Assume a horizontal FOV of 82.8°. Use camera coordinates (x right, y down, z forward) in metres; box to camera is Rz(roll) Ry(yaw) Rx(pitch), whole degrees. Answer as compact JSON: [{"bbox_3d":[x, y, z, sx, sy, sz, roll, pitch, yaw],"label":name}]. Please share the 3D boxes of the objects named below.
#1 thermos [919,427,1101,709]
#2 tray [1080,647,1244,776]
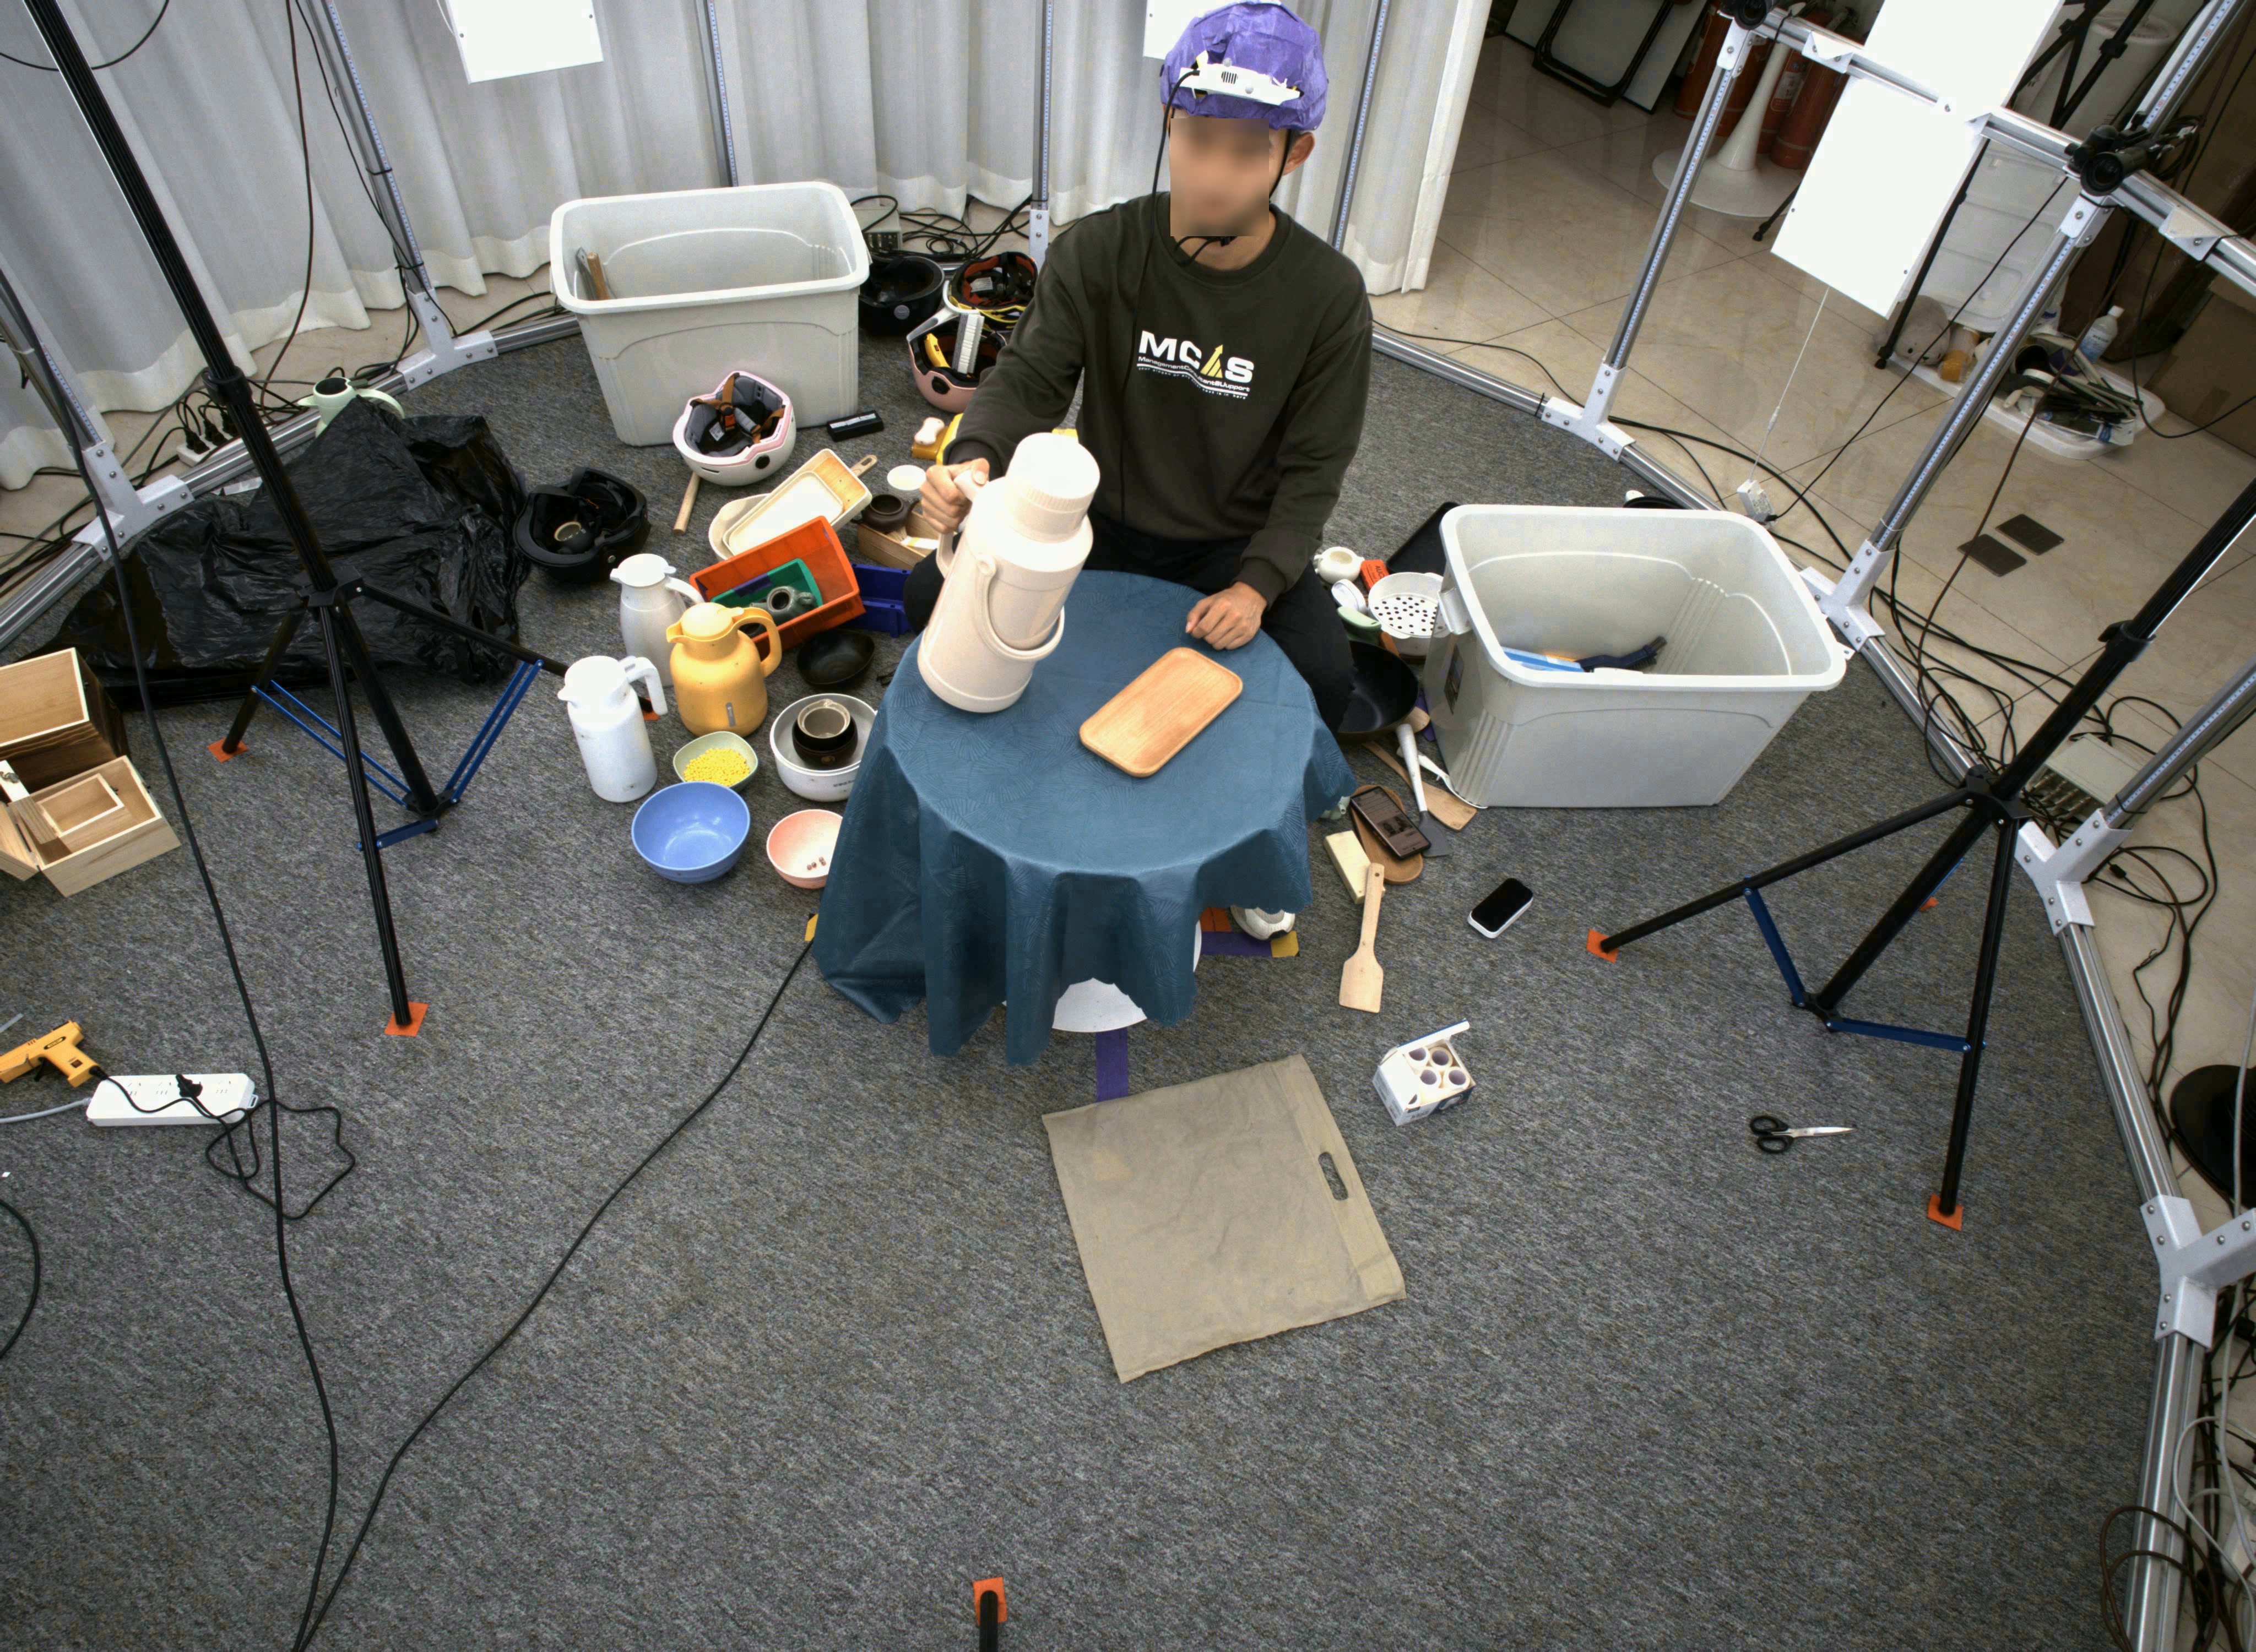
[{"bbox_3d":[-0.159,-0.337,1.663,0.208,0.399,0.178,41,53,5],"label":"thermos"},{"bbox_3d":[0.050,-0.163,1.799,0.132,0.022,0.253,35,54,21],"label":"tray"}]
